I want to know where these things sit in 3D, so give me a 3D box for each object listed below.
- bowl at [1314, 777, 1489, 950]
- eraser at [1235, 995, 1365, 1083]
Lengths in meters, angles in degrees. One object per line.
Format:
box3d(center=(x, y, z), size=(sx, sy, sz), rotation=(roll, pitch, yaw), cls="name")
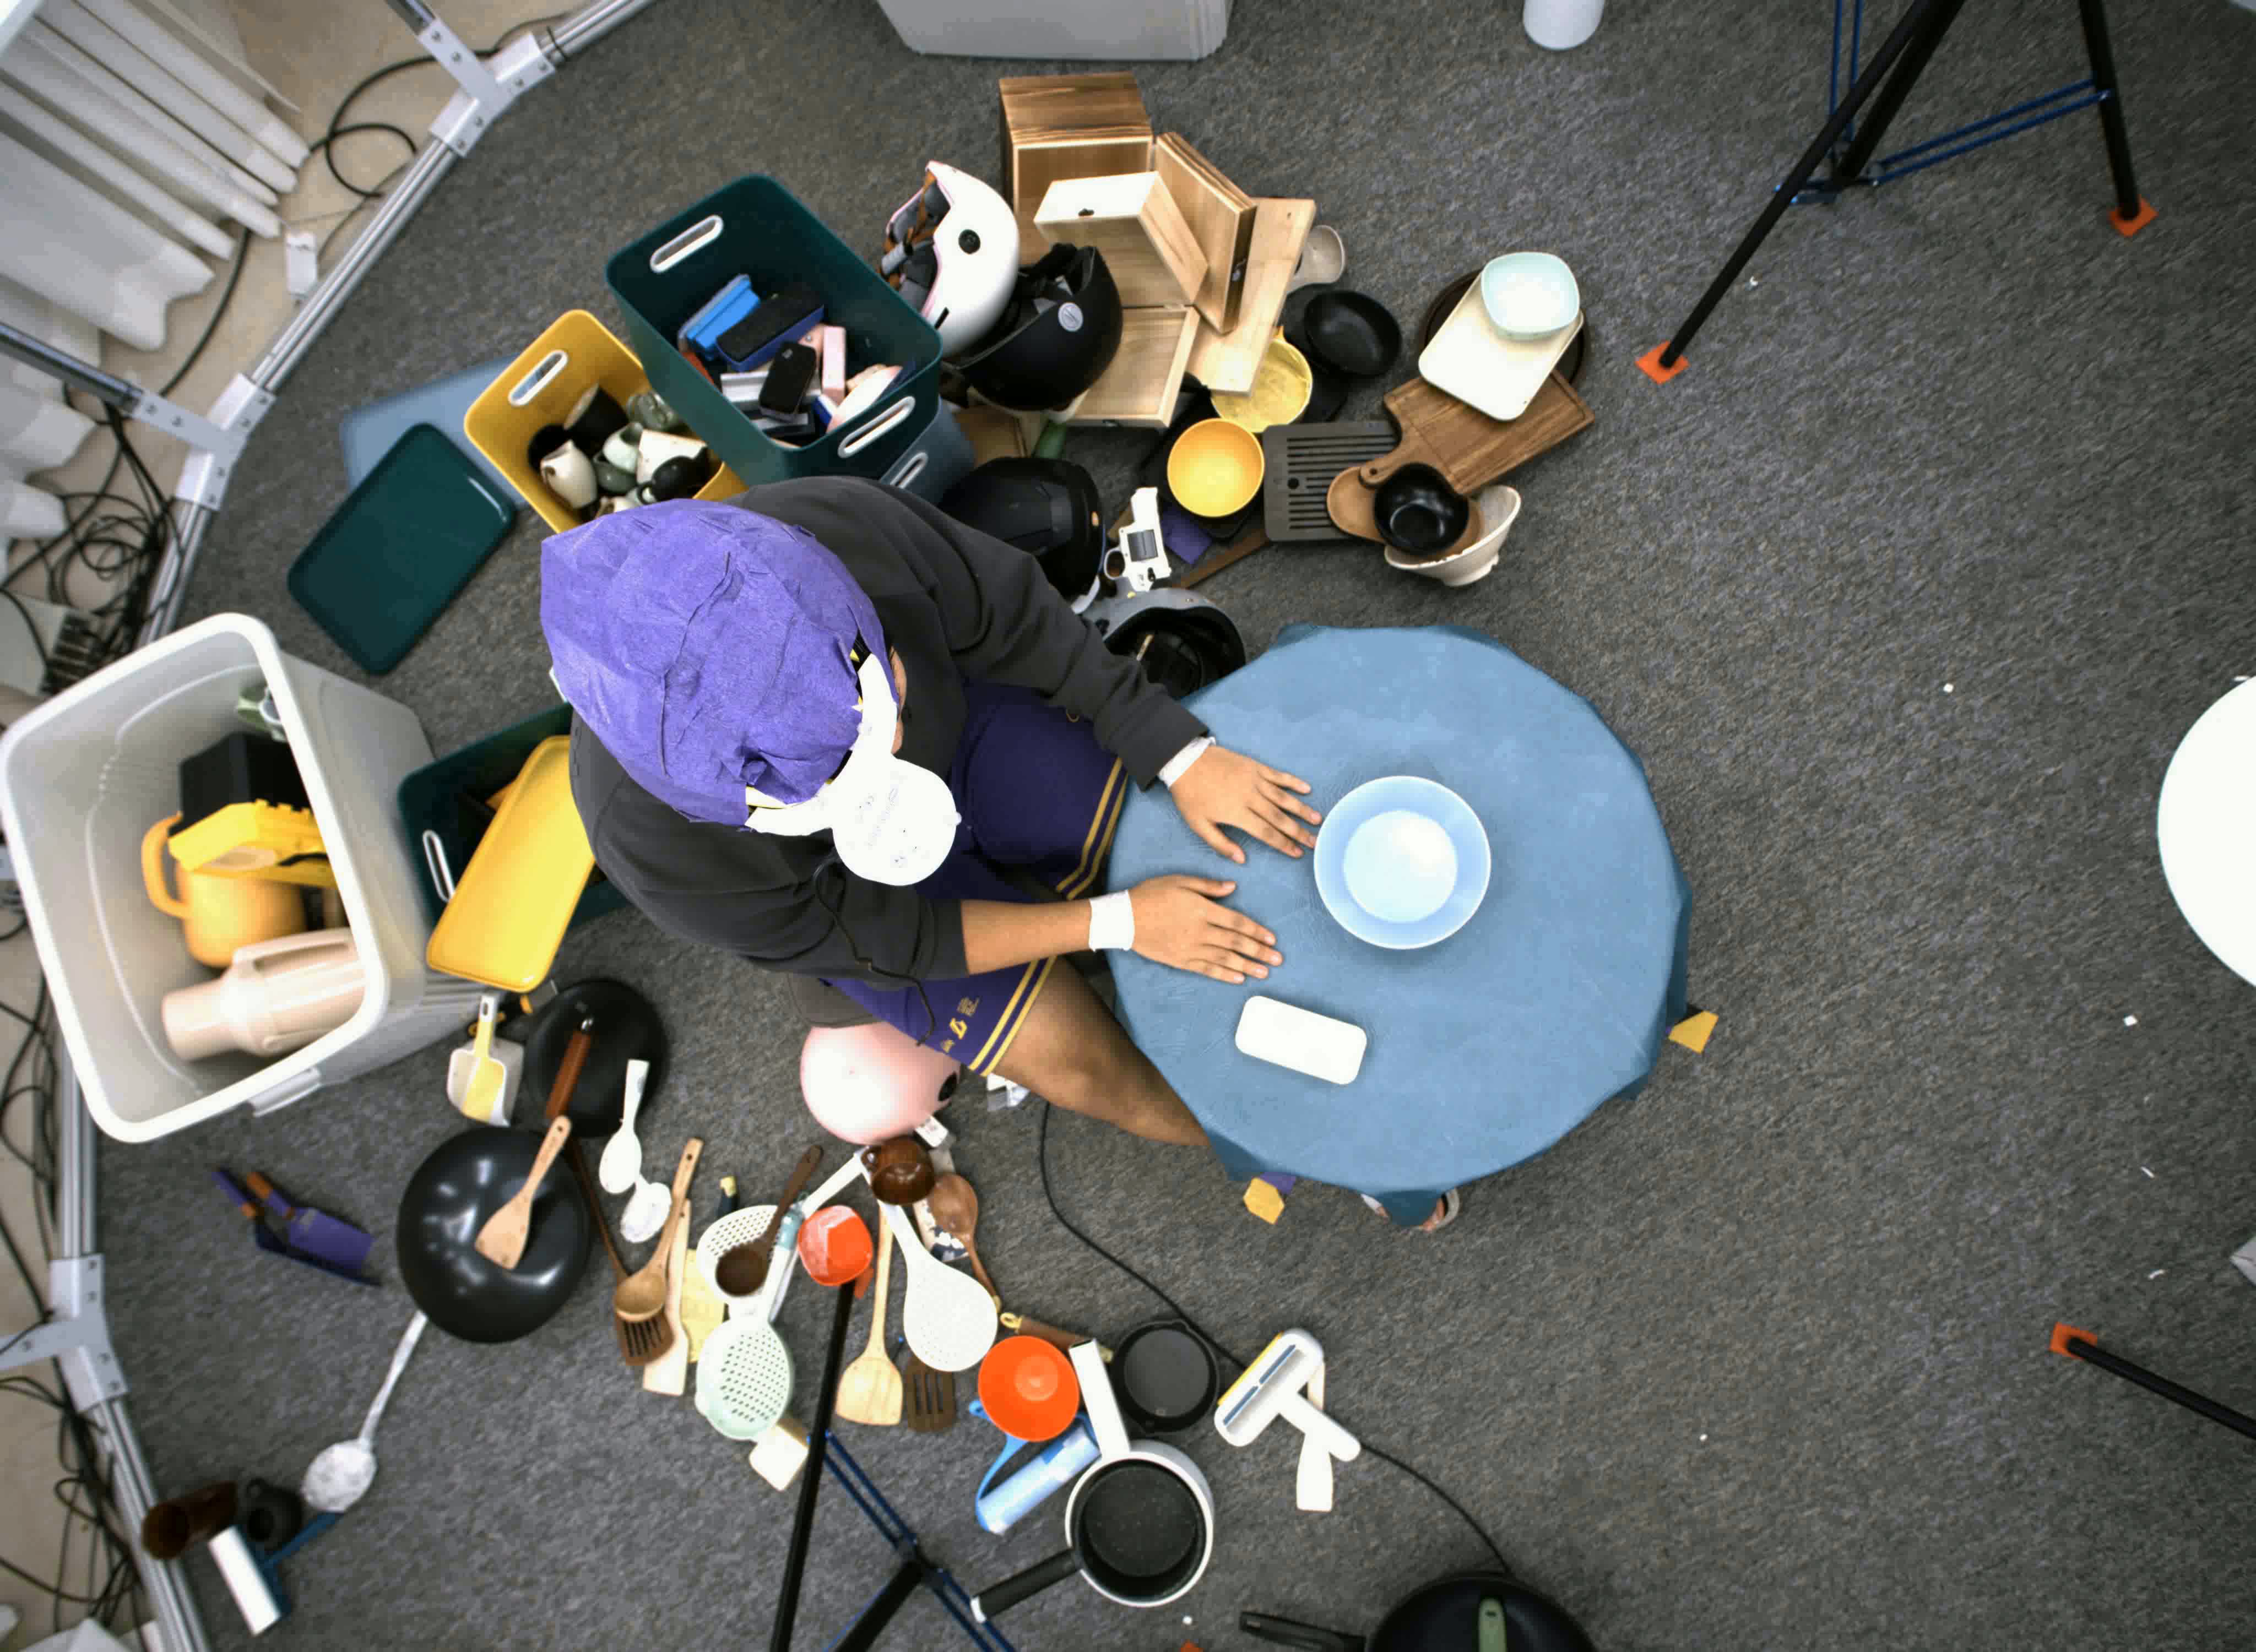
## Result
box3d(center=(0.281, 0.039, 1.423), size=(0.177, 0.070, 0.175), rotation=(-1, 86, 10), cls="bowl")
box3d(center=(0.180, 0.220, 1.451), size=(0.131, 0.034, 0.063), rotation=(18, 89, 9), cls="eraser")
